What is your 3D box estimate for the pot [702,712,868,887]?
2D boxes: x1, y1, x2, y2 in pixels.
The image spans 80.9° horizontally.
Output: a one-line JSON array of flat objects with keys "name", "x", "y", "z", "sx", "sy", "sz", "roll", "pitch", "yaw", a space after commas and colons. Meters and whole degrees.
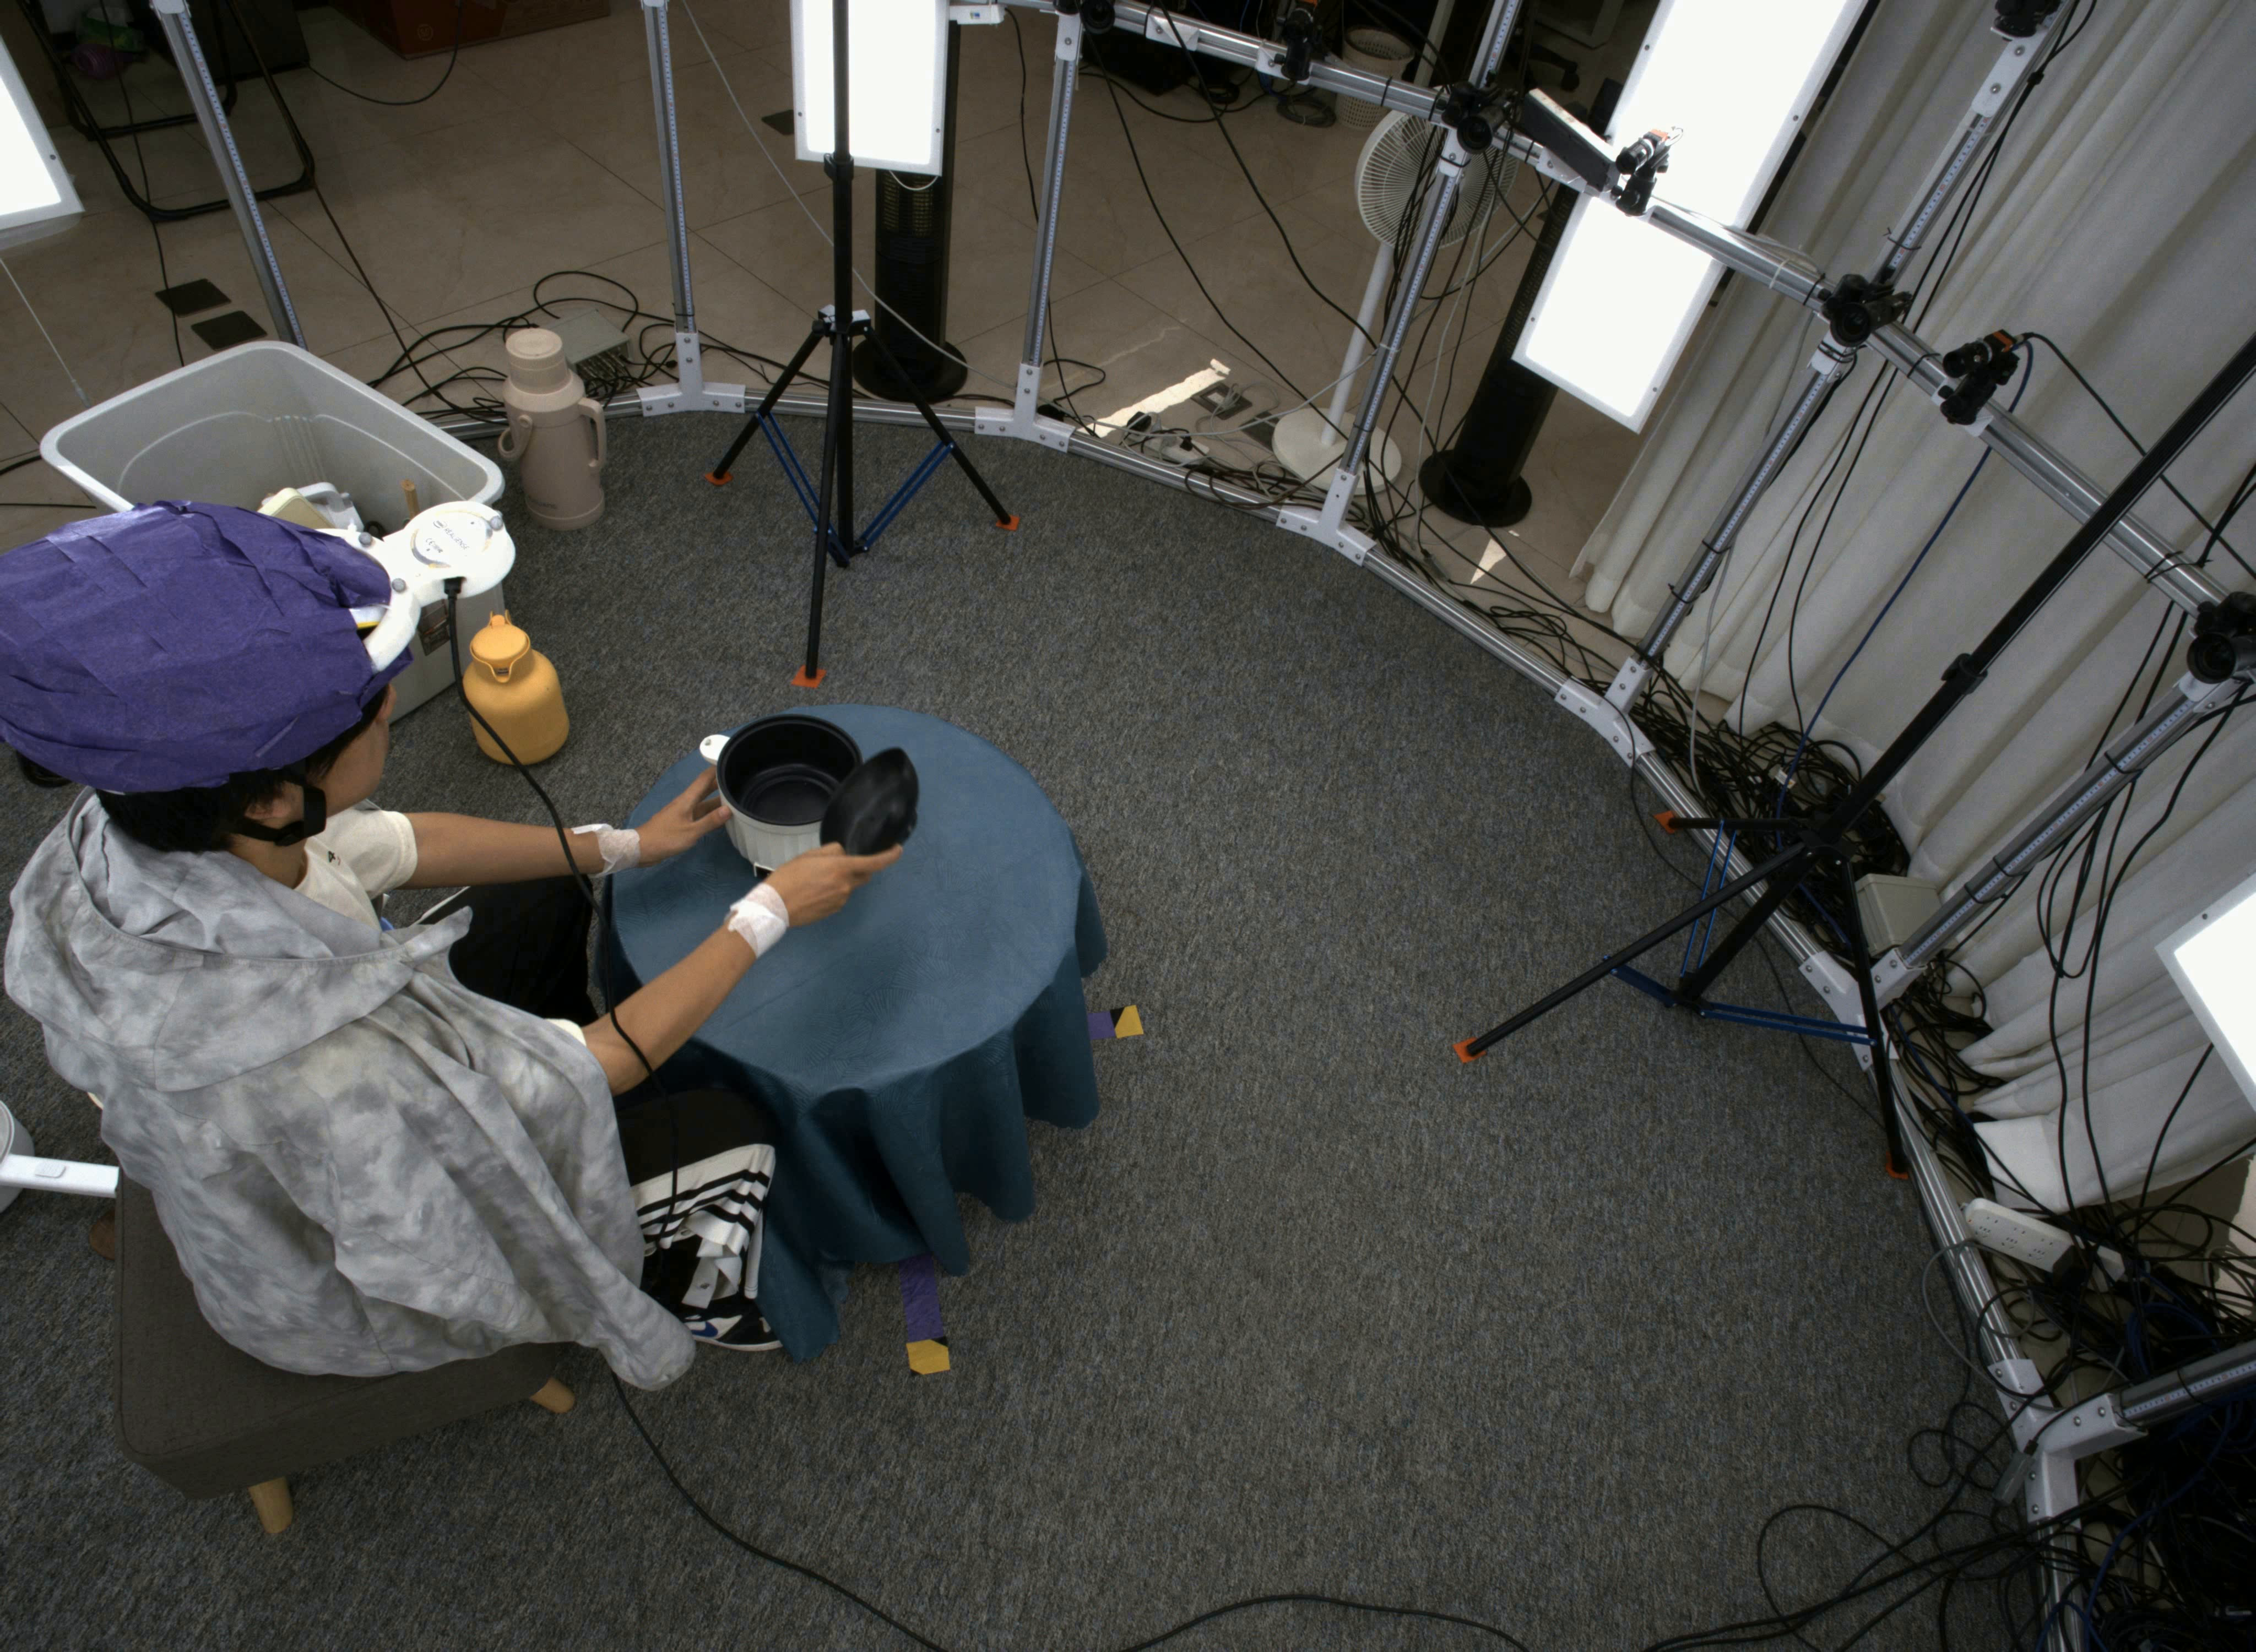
[{"name": "pot", "x": -0.424, "y": -0.037, "z": 1.665, "sx": 0.238, "sy": 0.145, "sz": 0.188, "roll": 17, "pitch": 55, "yaw": -1}]

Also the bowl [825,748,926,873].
[{"name": "bowl", "x": -0.285, "y": -0.011, "z": 1.527, "sx": 0.069, "sy": 0.134, "sz": 0.167, "roll": 45, "pitch": 39, "yaw": -37}]
